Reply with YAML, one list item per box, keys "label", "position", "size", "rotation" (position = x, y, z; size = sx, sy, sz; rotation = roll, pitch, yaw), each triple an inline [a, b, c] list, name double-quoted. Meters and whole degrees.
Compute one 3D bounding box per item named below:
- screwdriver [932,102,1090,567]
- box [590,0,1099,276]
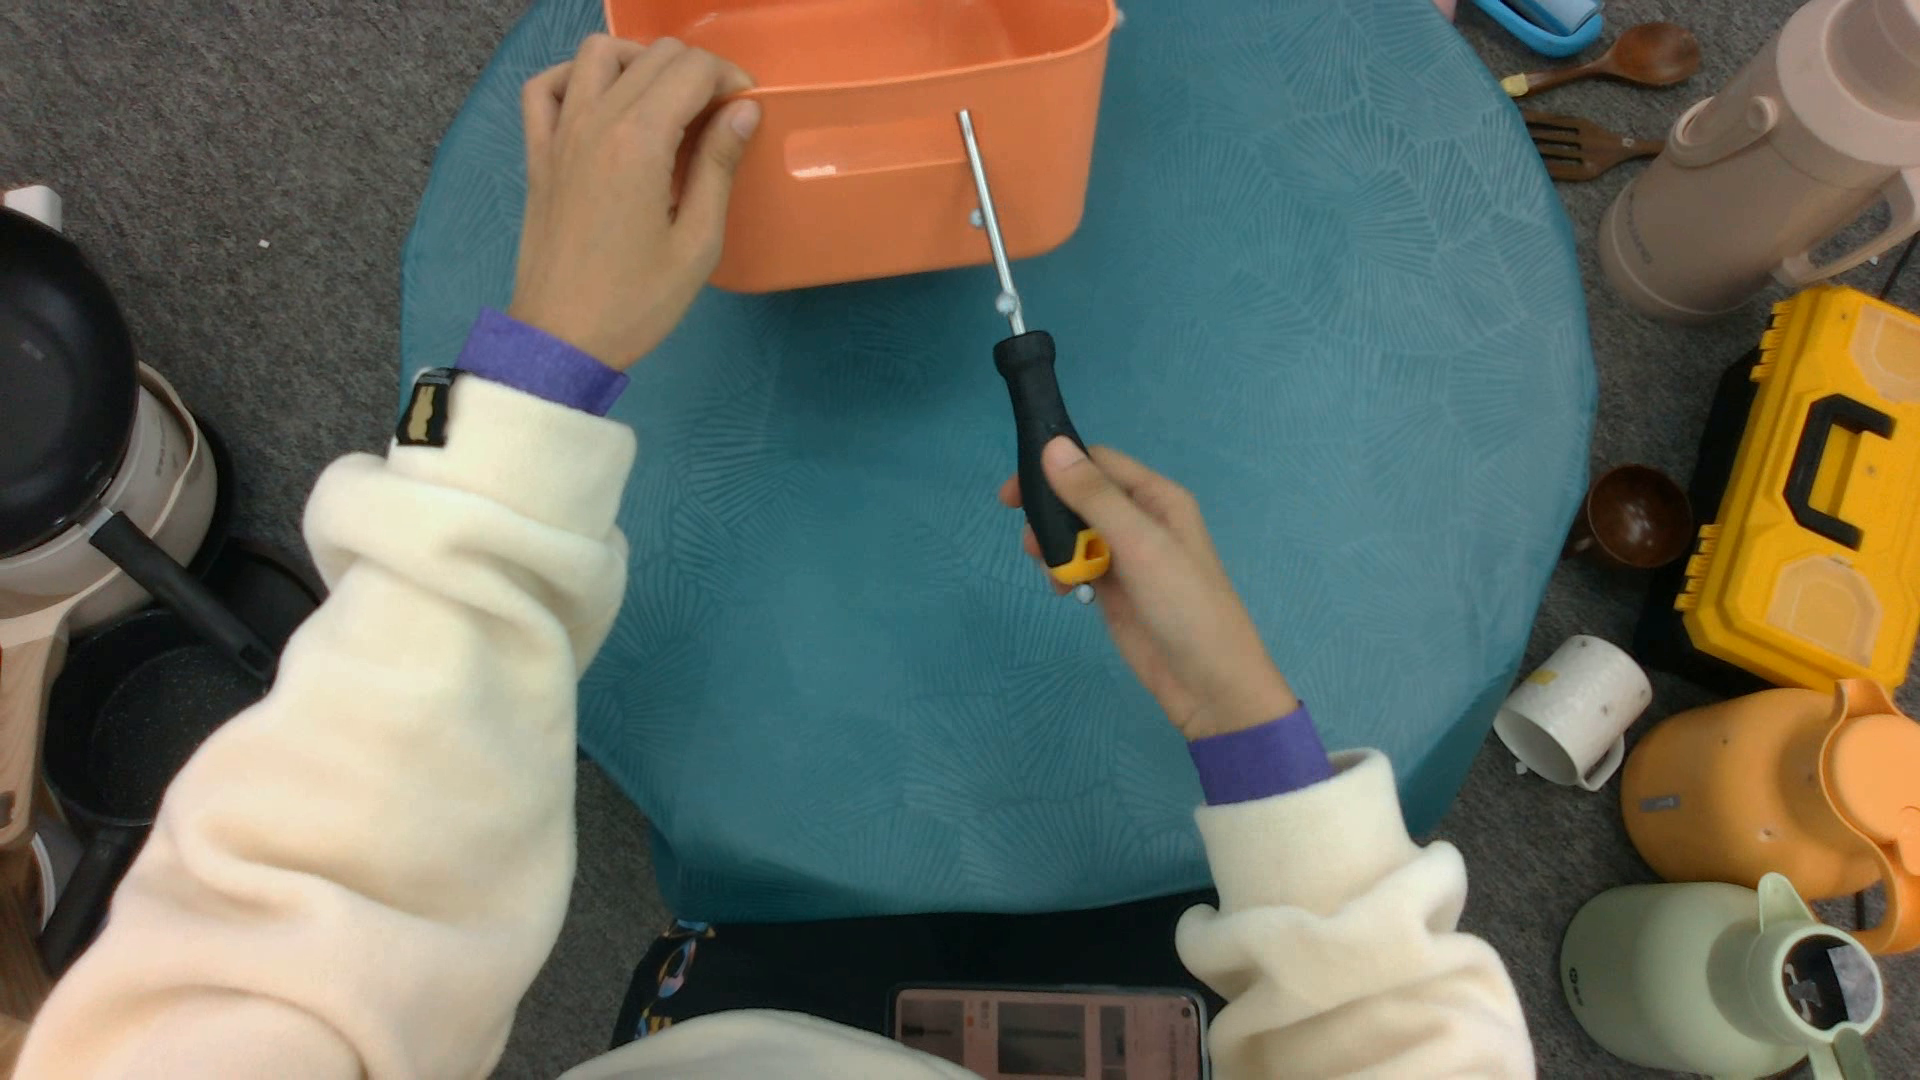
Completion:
- label: "screwdriver"
  position: [0.012, -0.084, 0.530]
  size: [0.031, 0.031, 0.196]
  rotation: [-17, 85, -8]
- label: "box"
  position: [-0.060, -0.235, 0.621]
  size: [0.199, 0.102, 0.274]
  rotation: [-9, 48, -8]
